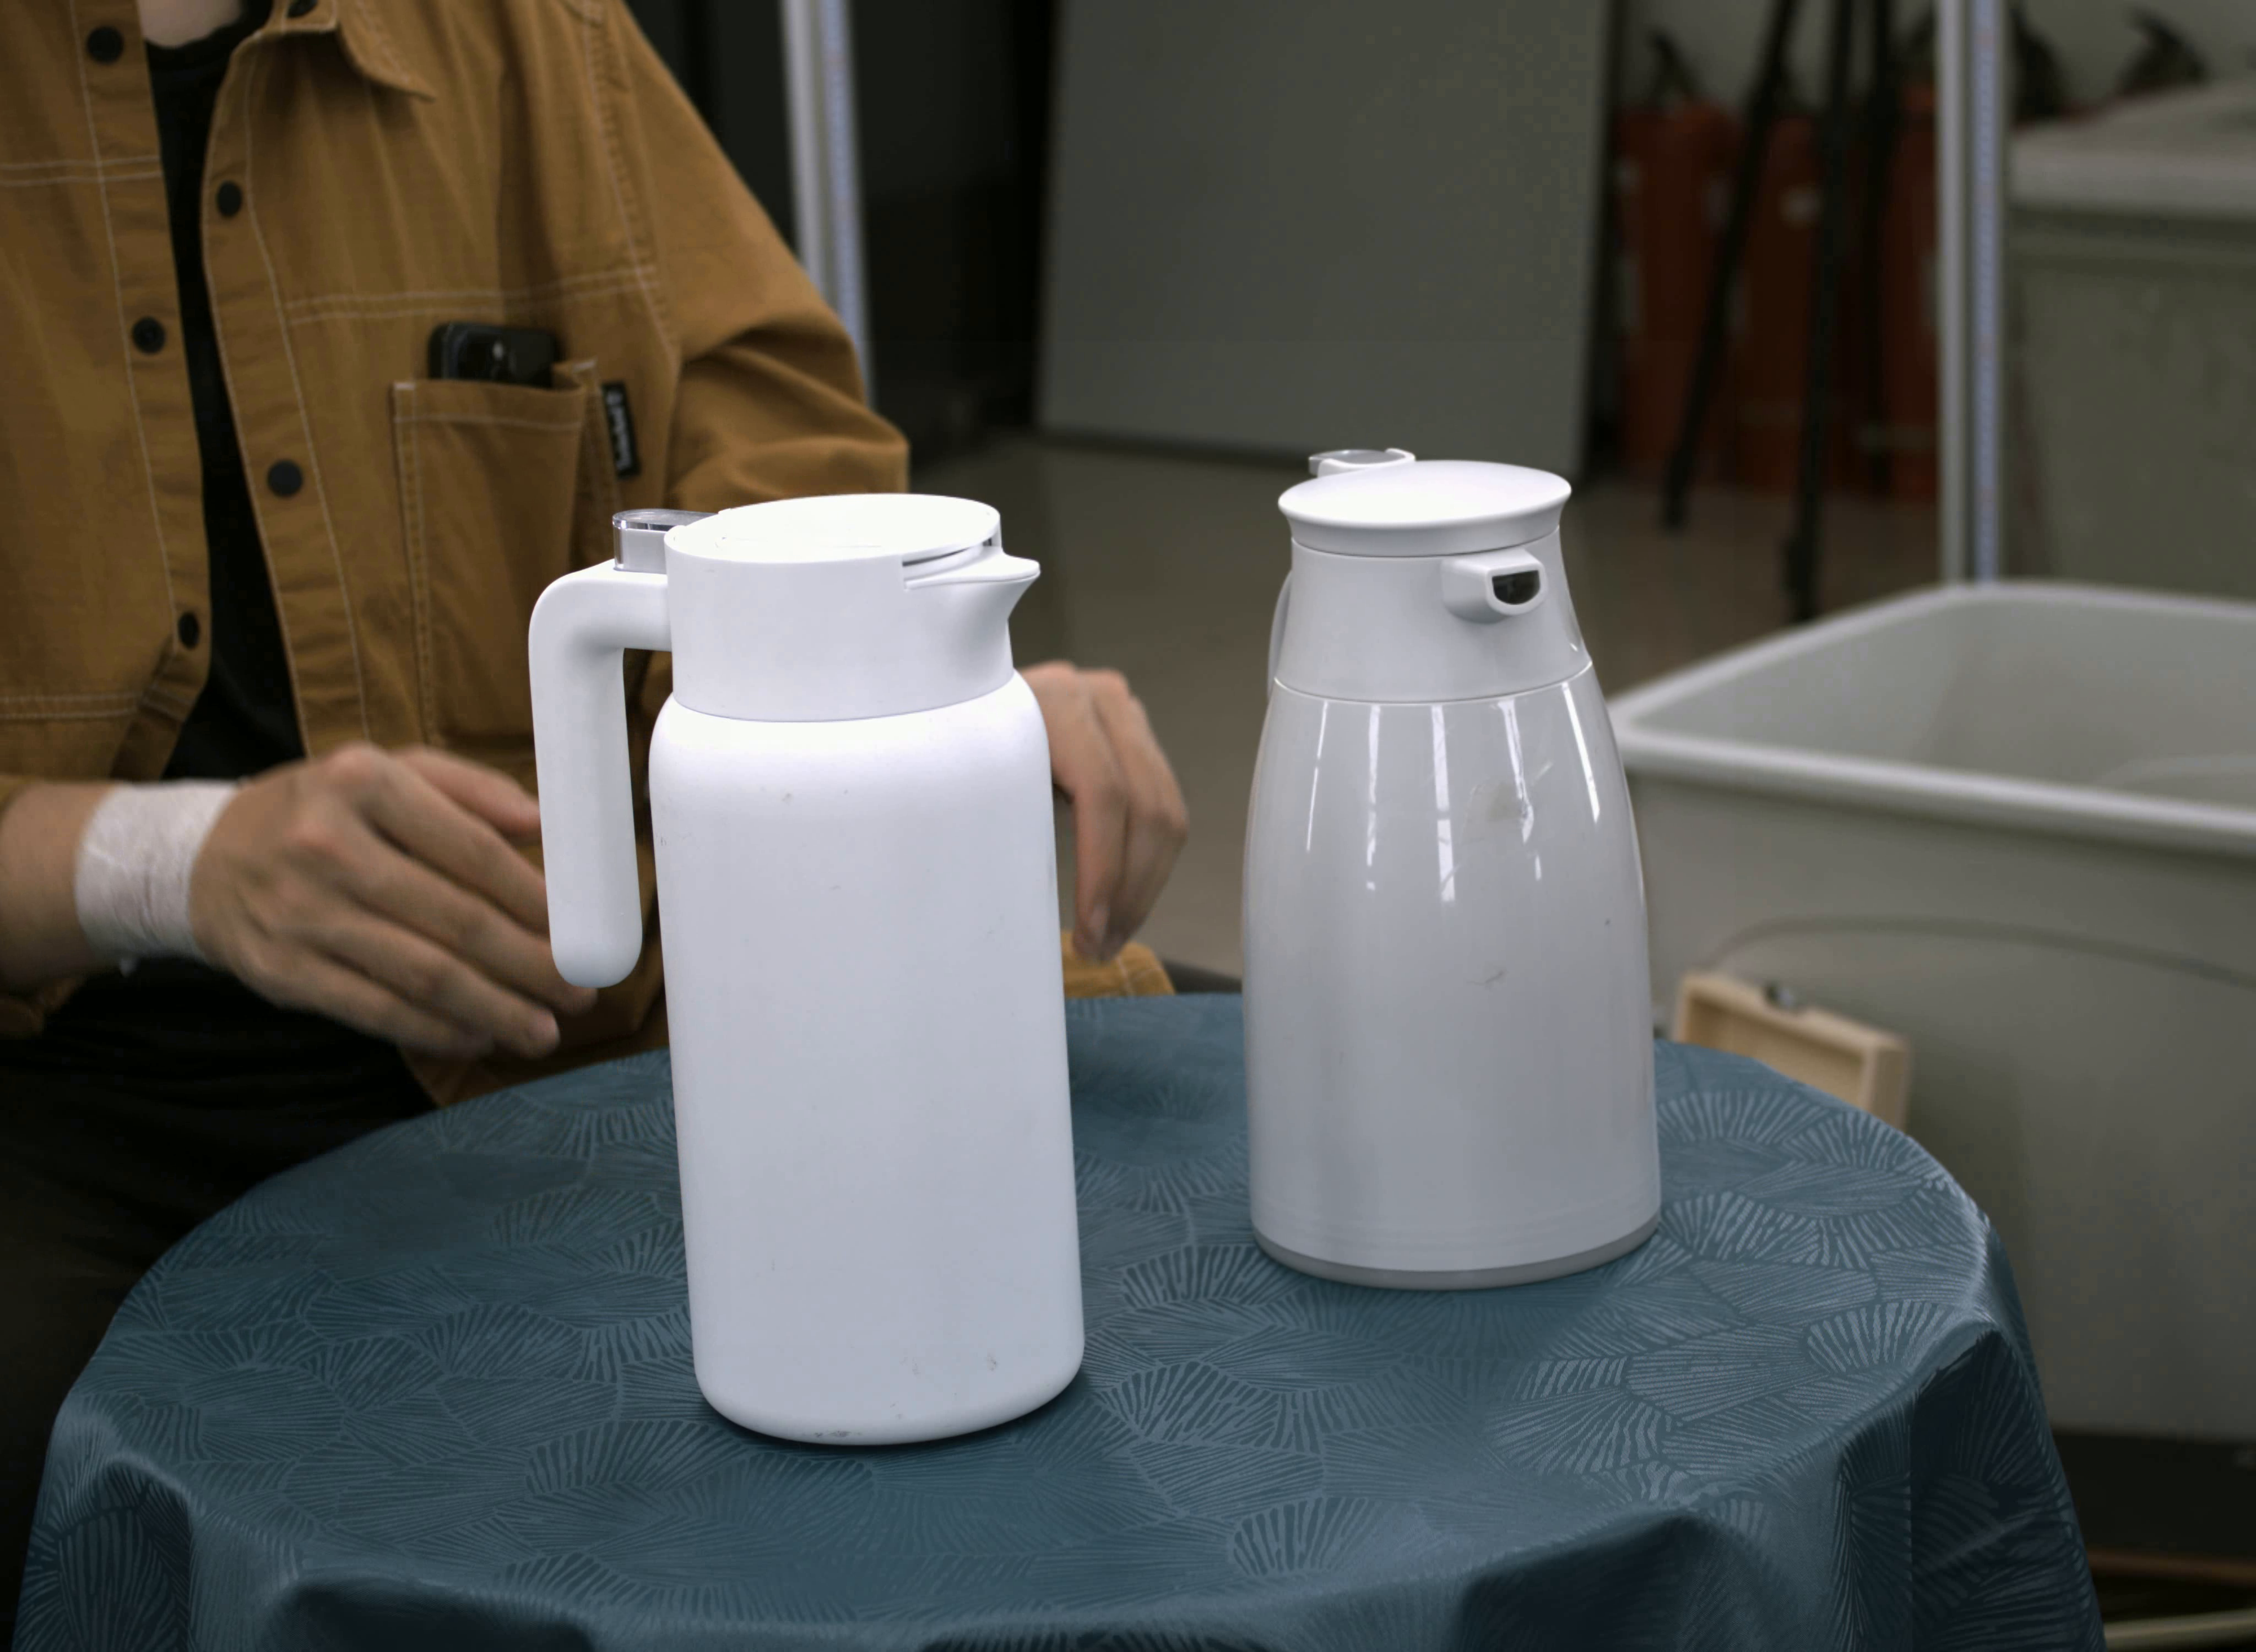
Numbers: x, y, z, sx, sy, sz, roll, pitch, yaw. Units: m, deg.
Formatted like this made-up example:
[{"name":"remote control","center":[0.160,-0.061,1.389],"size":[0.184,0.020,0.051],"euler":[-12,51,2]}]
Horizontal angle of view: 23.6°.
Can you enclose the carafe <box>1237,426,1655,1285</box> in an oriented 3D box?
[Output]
[{"name":"carafe","center":[0.088,0.001,1.707],"size":[0.130,0.251,0.169],"euler":[-9,14,-21]}]

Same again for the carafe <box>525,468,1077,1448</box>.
[{"name":"carafe","center":[-0.095,0.037,1.583],"size":[0.173,0.272,0.122],"euler":[4,17,31]}]
